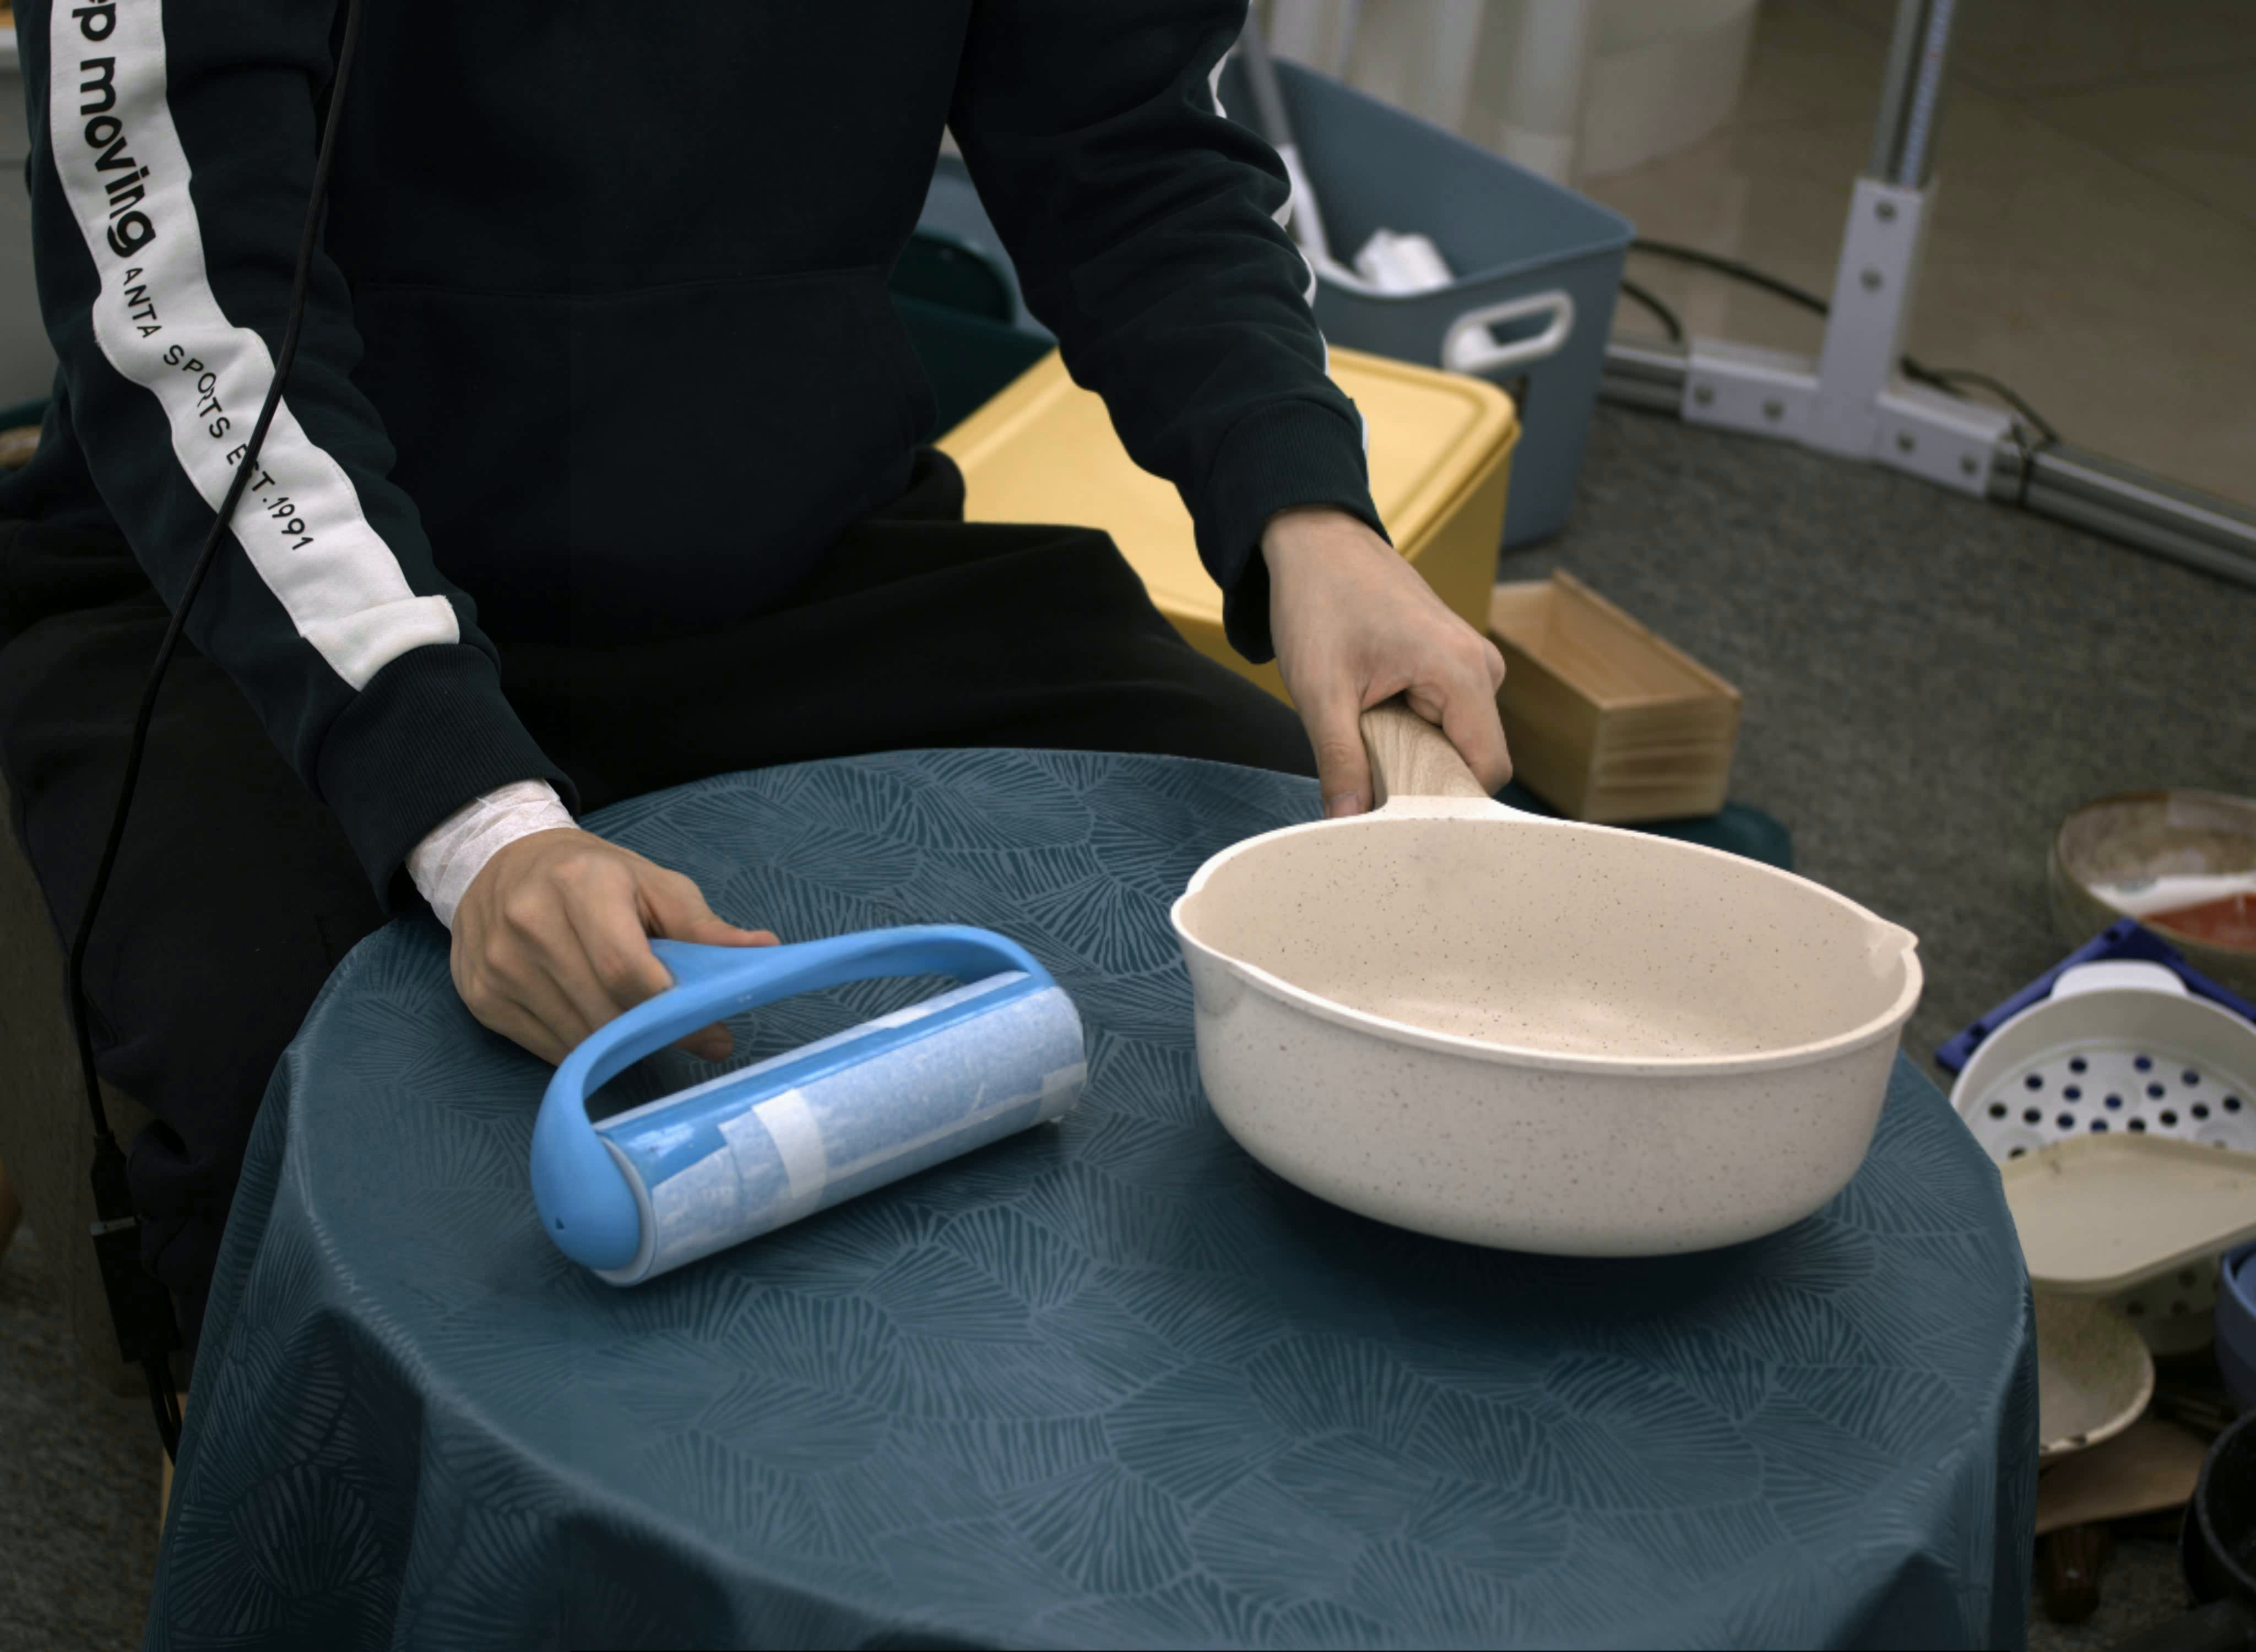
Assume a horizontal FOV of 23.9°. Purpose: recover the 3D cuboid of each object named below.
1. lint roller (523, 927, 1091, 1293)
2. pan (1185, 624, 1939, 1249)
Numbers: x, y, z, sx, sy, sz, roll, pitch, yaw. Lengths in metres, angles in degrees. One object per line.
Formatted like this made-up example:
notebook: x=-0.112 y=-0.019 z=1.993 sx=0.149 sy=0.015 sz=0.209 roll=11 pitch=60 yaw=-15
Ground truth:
lint roller: x=-0.142 y=0.075 z=1.800 sx=0.181 sy=0.067 sz=0.228 roll=29 pitch=35 yaw=34
pan: x=0.124 y=0.036 z=1.891 sx=0.262 sy=0.102 sz=0.438 roll=-1 pitch=18 yaw=-13
